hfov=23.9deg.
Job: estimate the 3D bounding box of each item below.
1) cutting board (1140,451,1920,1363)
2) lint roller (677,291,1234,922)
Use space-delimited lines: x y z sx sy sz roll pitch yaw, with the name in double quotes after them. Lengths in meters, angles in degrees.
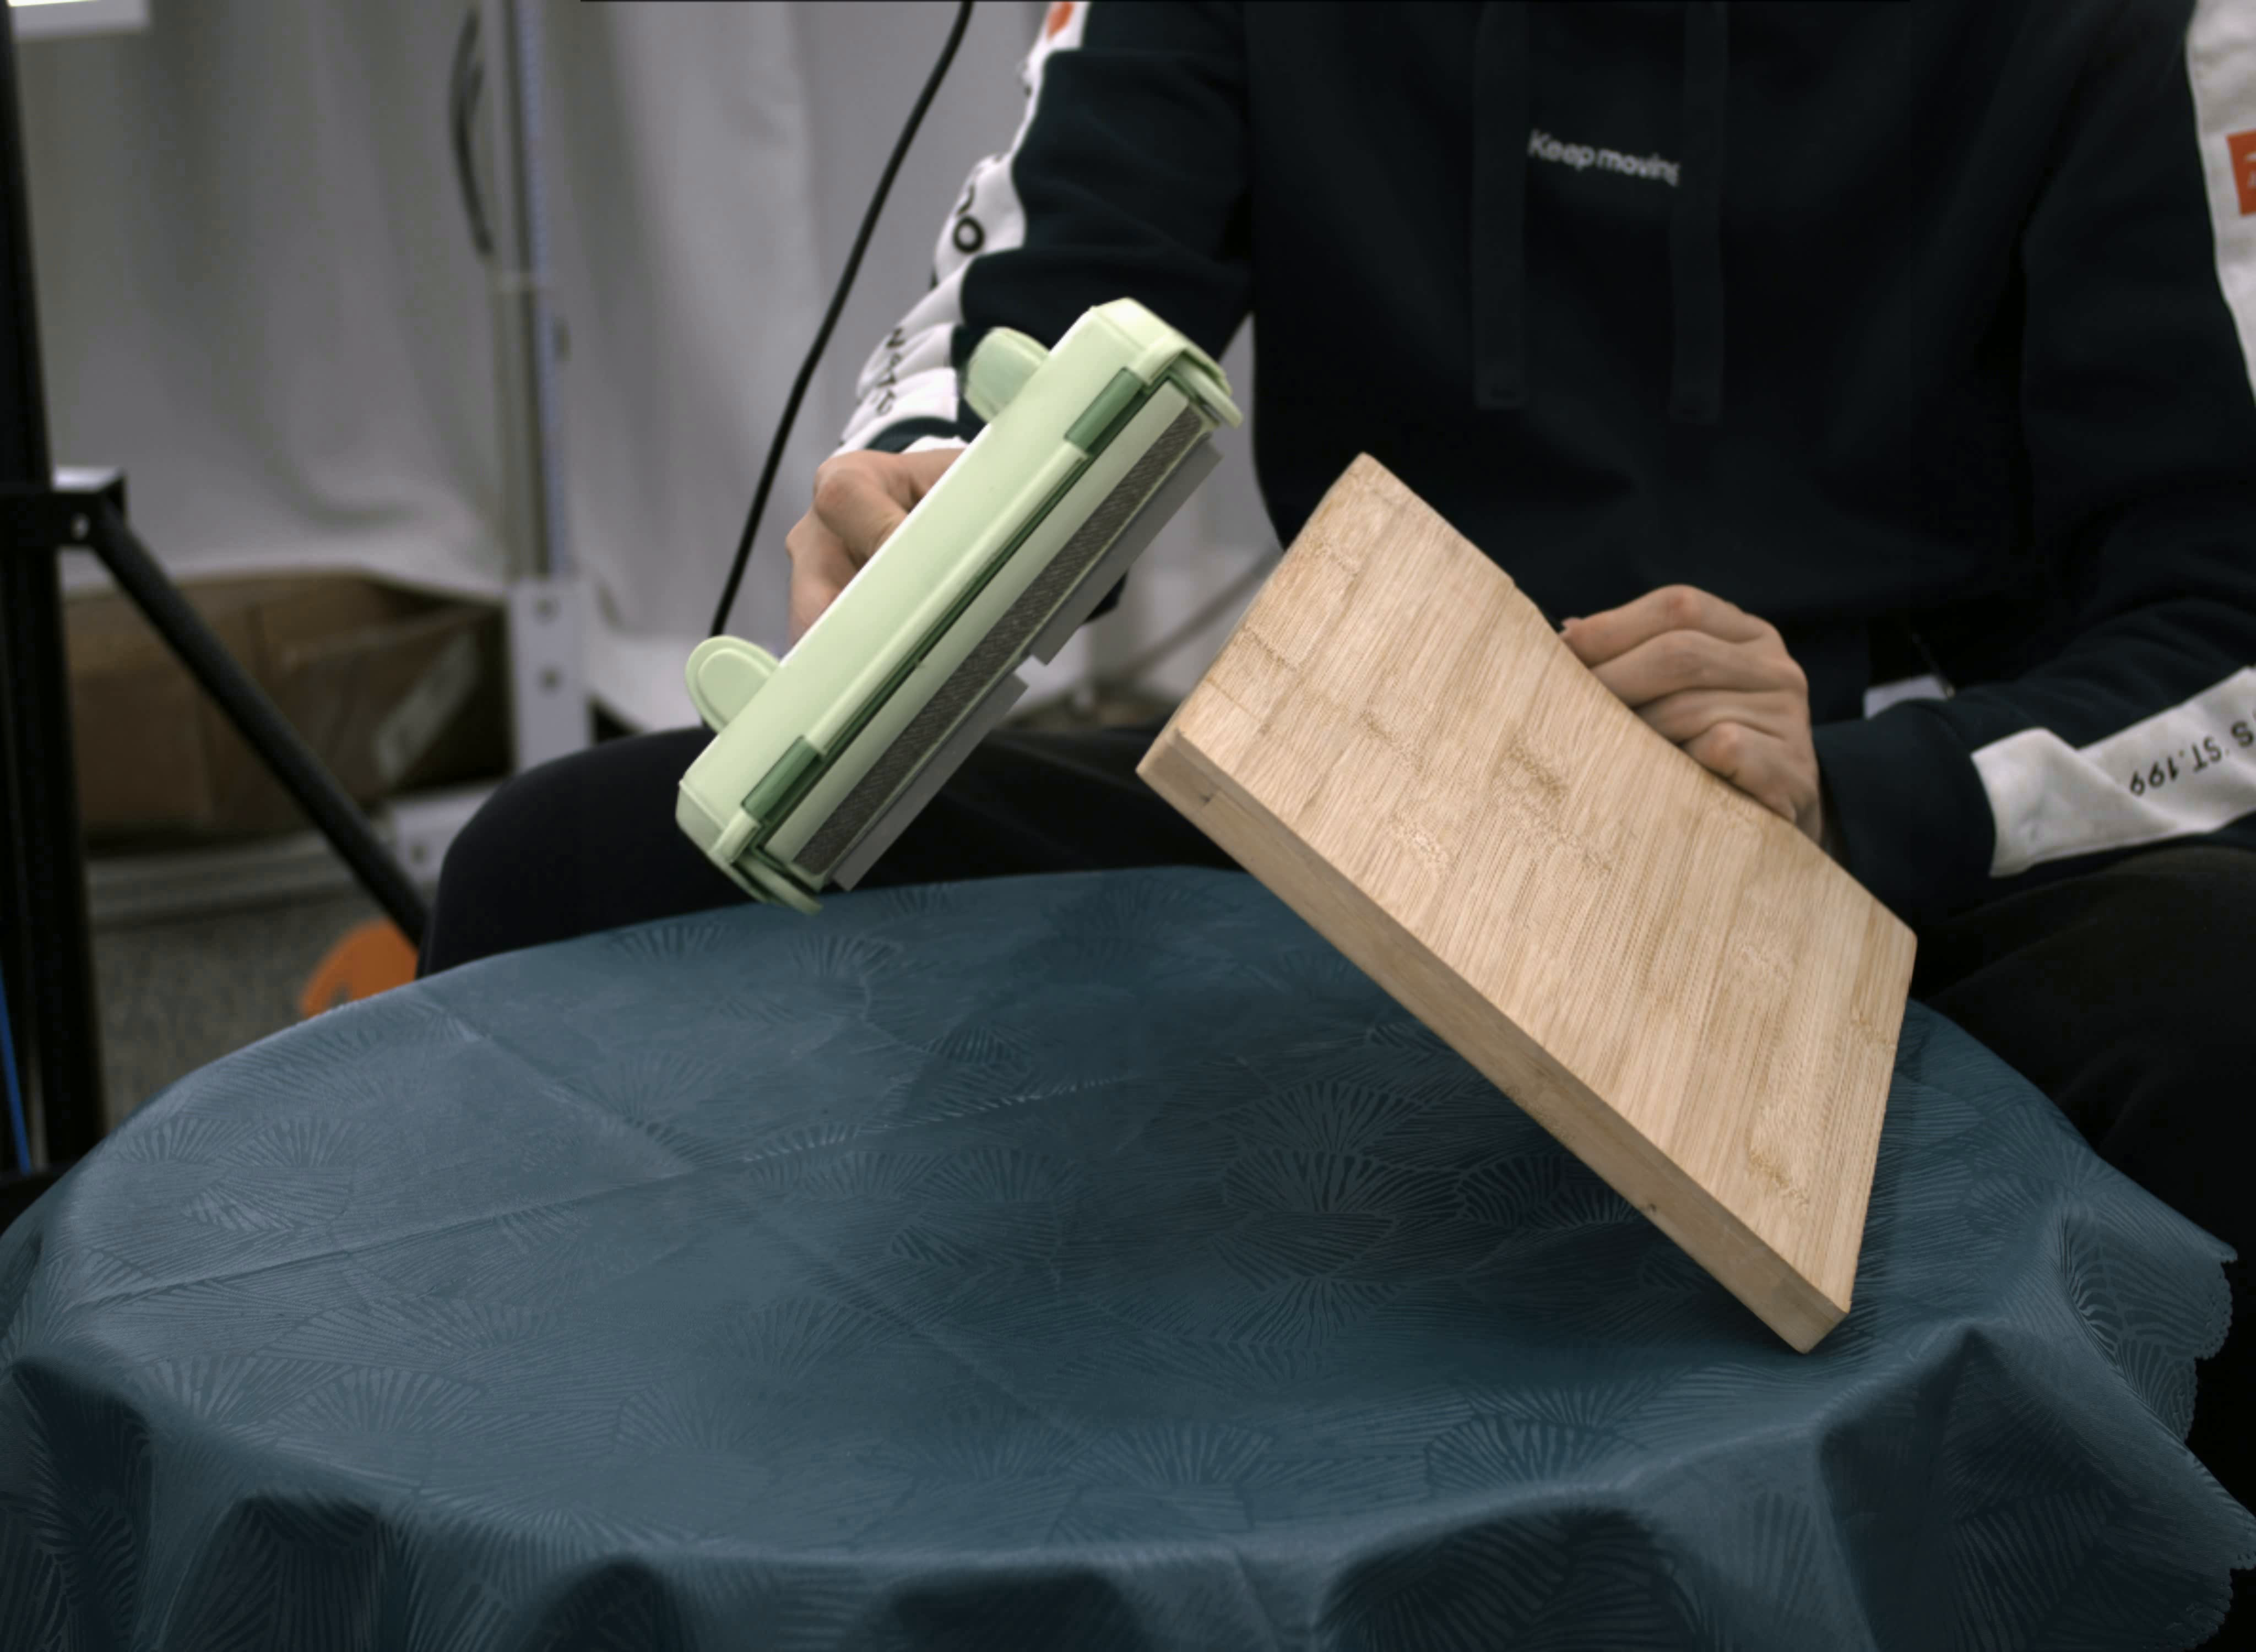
0.129 0.011 1.562 0.250 0.024 0.347 41 20 -2 "cutting board"
-0.062 -0.074 1.548 0.081 0.199 0.185 40 2 -12 "lint roller"
